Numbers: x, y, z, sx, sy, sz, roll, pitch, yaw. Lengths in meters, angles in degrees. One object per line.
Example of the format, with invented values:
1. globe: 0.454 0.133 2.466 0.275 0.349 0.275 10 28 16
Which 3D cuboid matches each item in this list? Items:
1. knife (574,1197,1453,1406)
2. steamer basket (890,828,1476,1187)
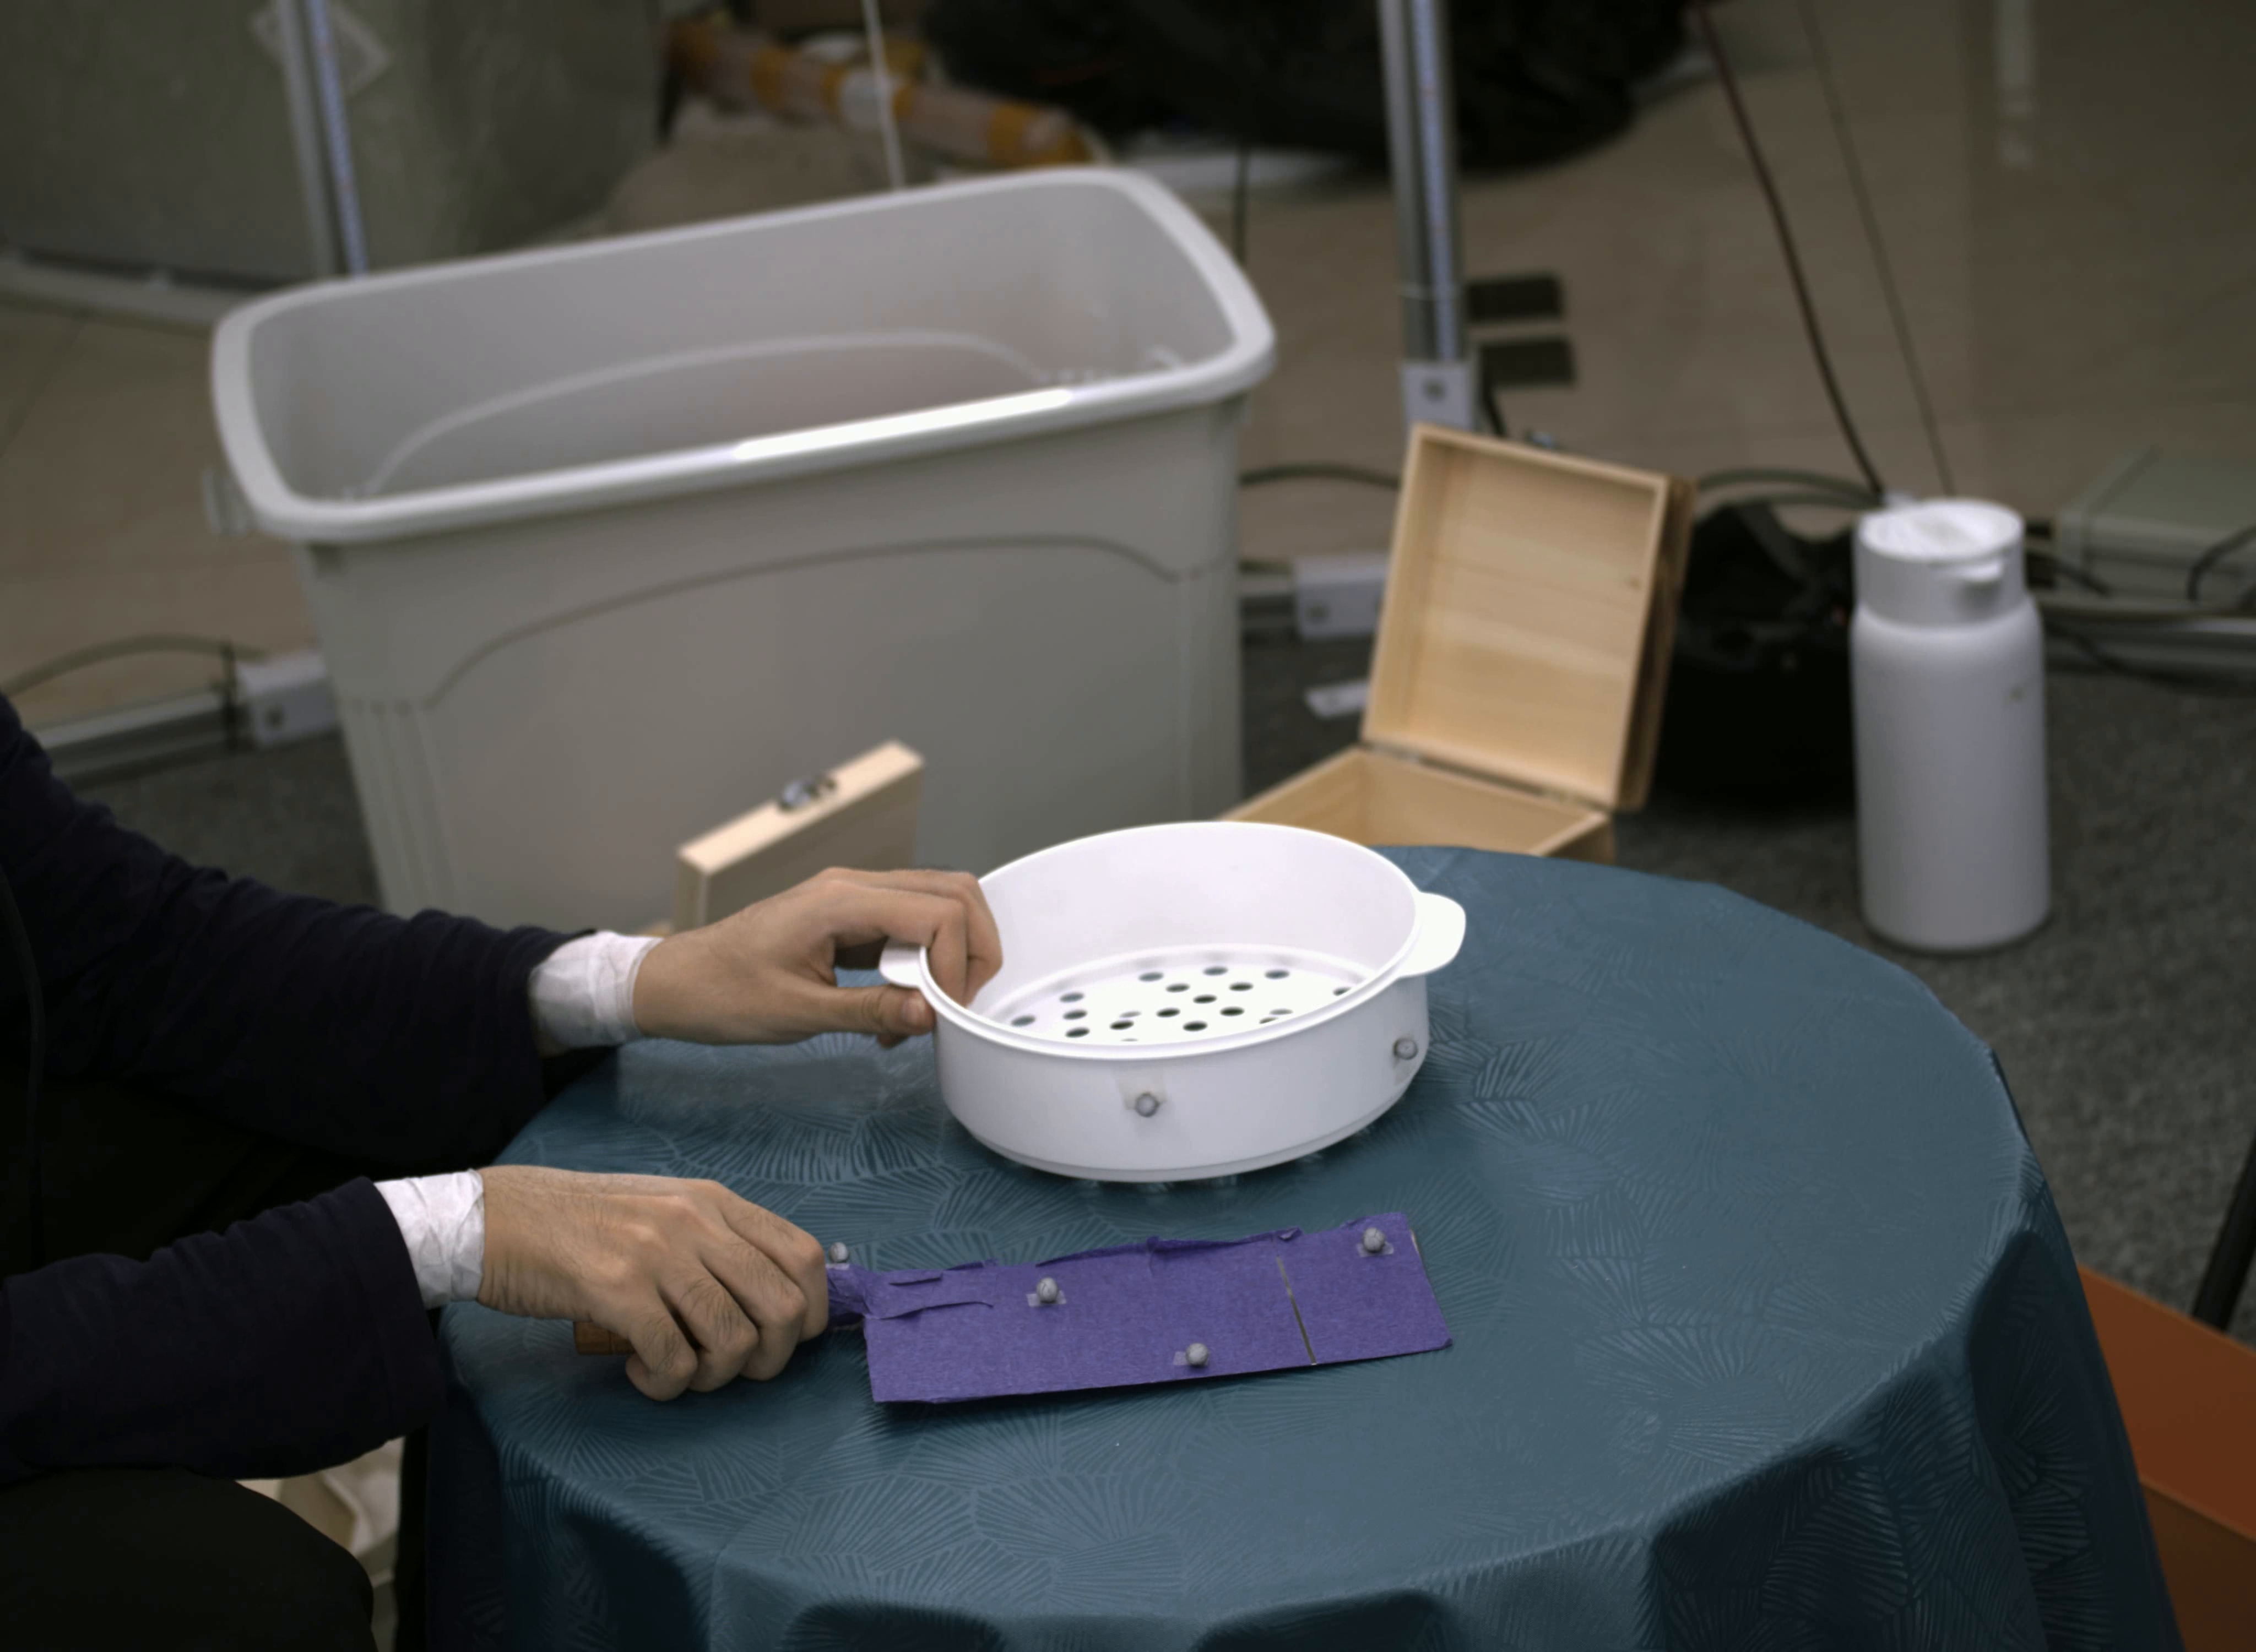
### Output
1. knife: -0.042 0.176 2.049 0.314 0.033 0.102 -8 25 -4
2. steamer basket: 0.025 0.071 2.213 0.230 0.070 0.199 -4 24 11
